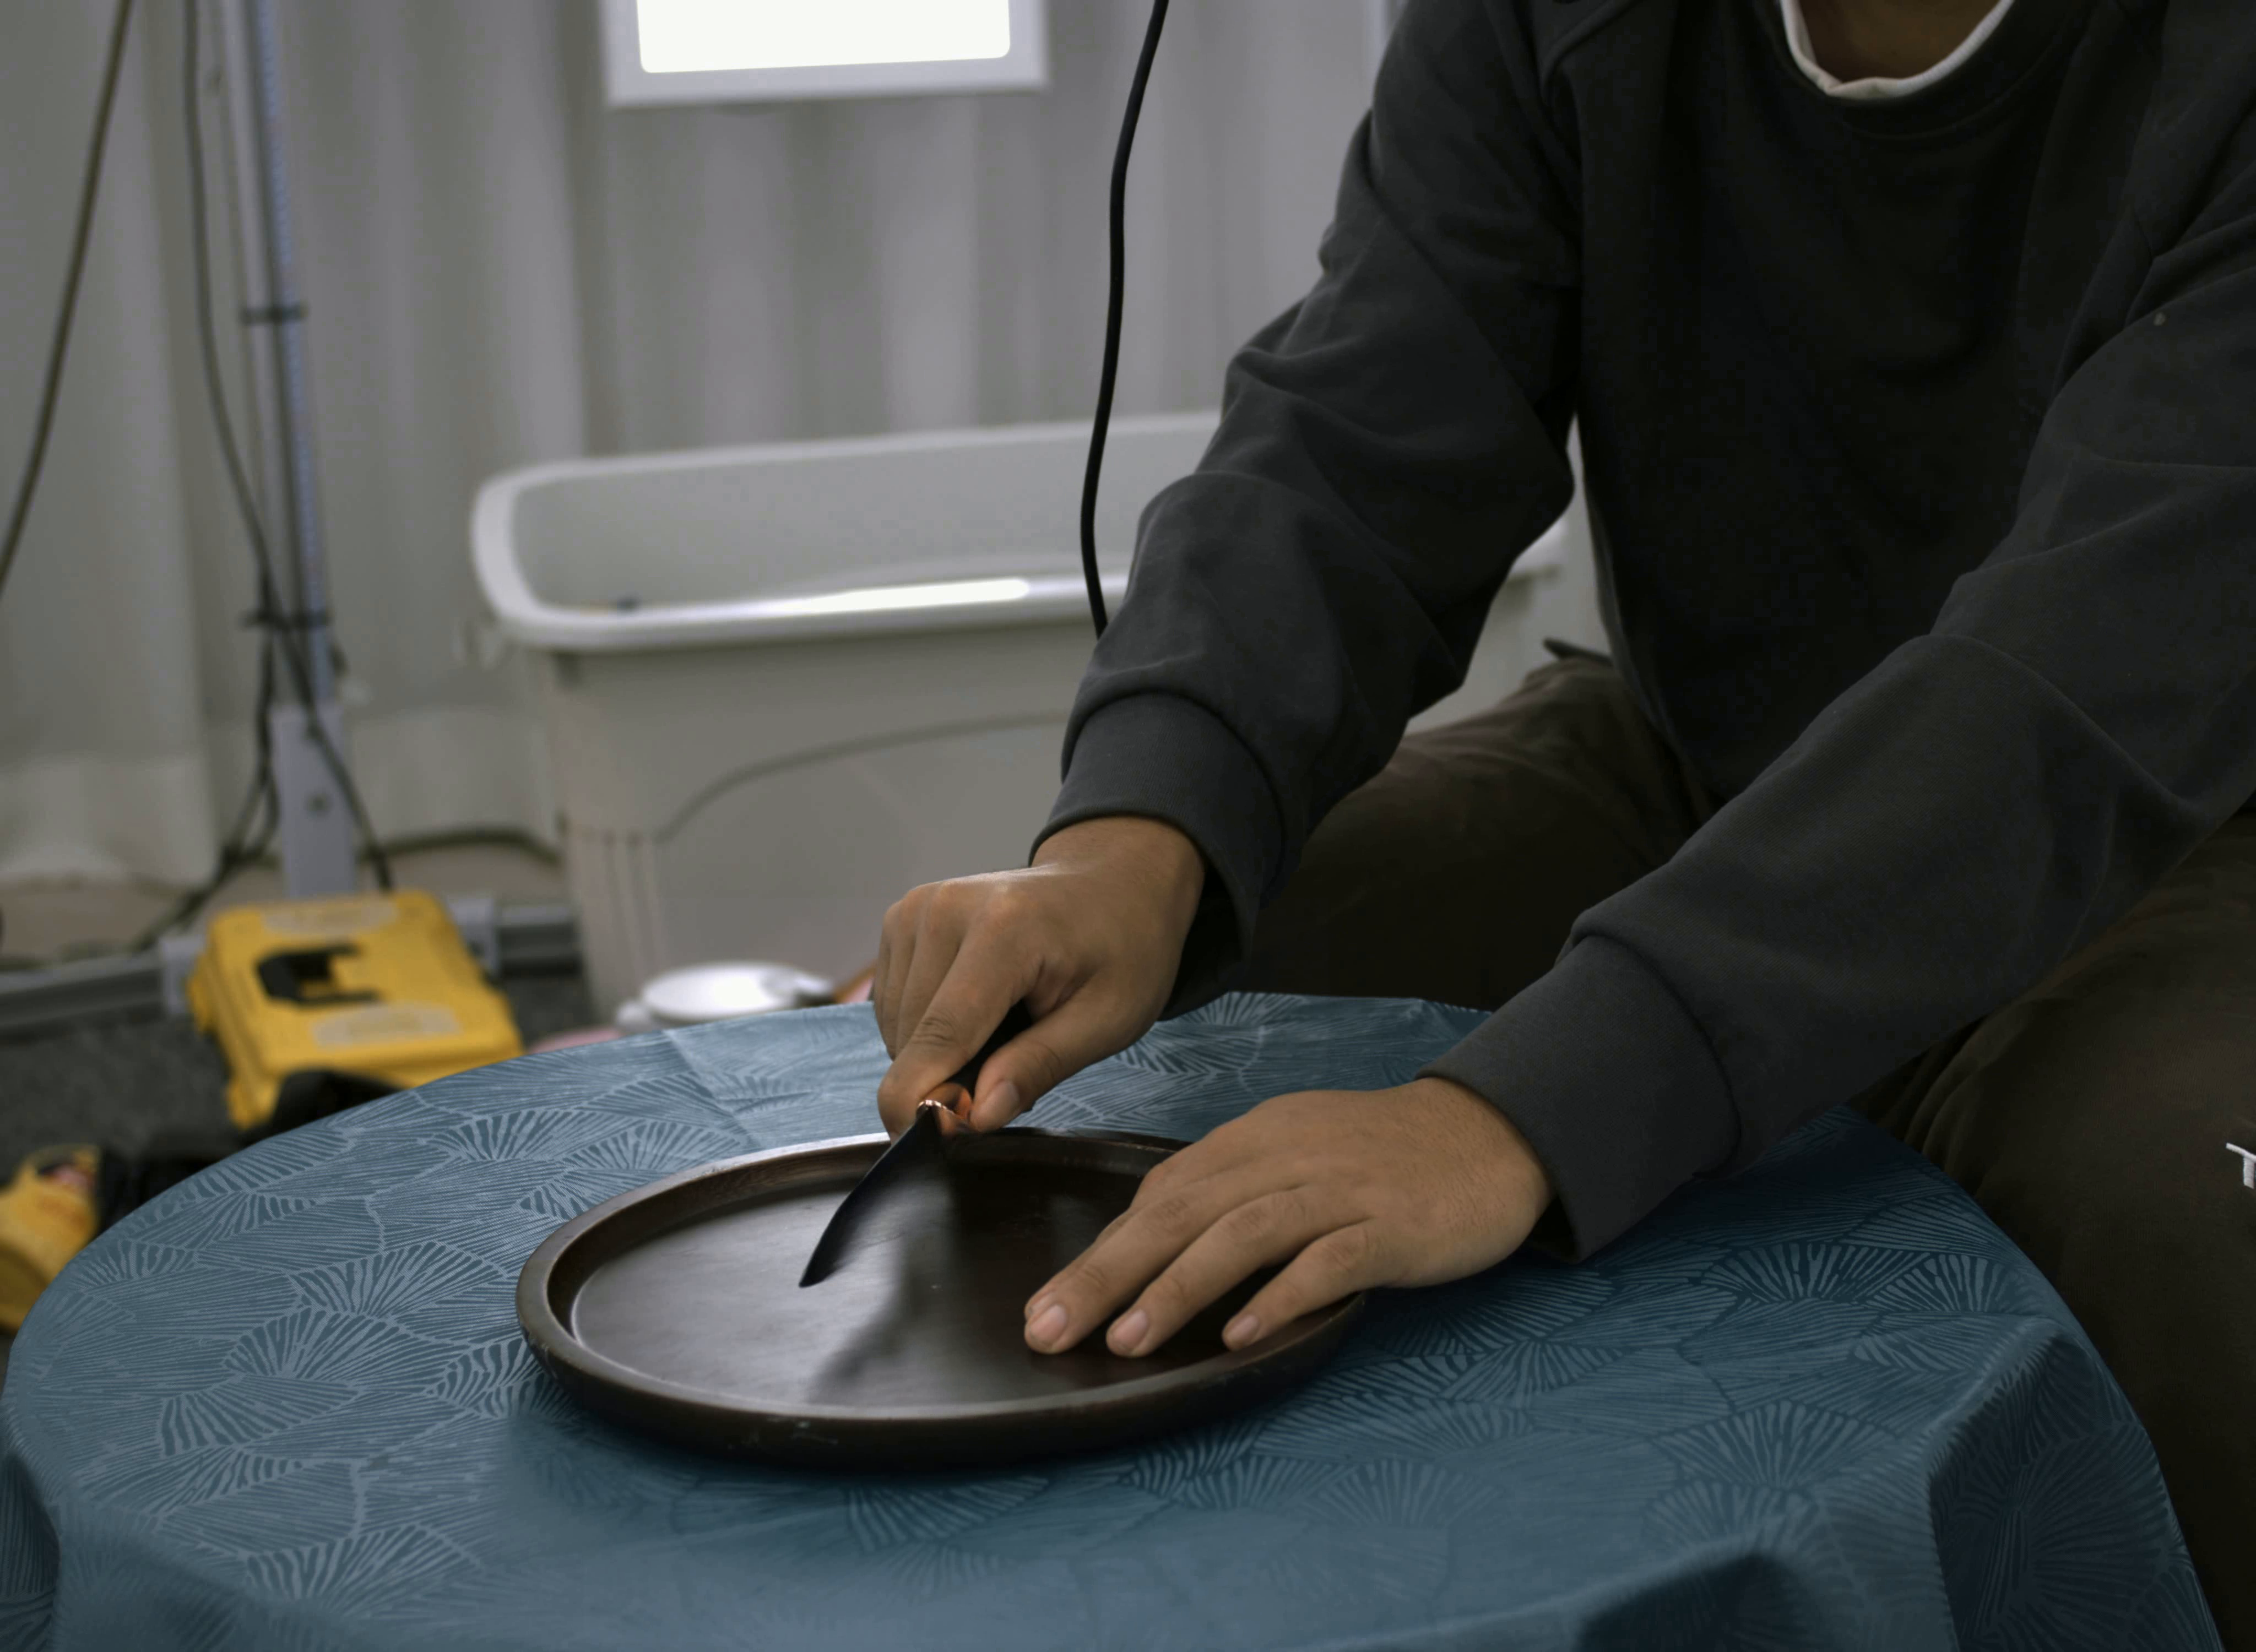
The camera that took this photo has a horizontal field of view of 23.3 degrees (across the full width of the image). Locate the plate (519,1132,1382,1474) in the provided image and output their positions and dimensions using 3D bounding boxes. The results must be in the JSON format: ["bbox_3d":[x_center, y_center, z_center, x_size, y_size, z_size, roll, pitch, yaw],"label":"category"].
[{"bbox_3d":[-0.051,0.137,1.599,0.254,0.029,0.256,-3,13,0],"label":"plate"}]

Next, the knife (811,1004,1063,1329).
[{"bbox_3d":[-0.058,0.100,1.658,0.017,0.026,0.227,-11,15,21],"label":"knife"}]
